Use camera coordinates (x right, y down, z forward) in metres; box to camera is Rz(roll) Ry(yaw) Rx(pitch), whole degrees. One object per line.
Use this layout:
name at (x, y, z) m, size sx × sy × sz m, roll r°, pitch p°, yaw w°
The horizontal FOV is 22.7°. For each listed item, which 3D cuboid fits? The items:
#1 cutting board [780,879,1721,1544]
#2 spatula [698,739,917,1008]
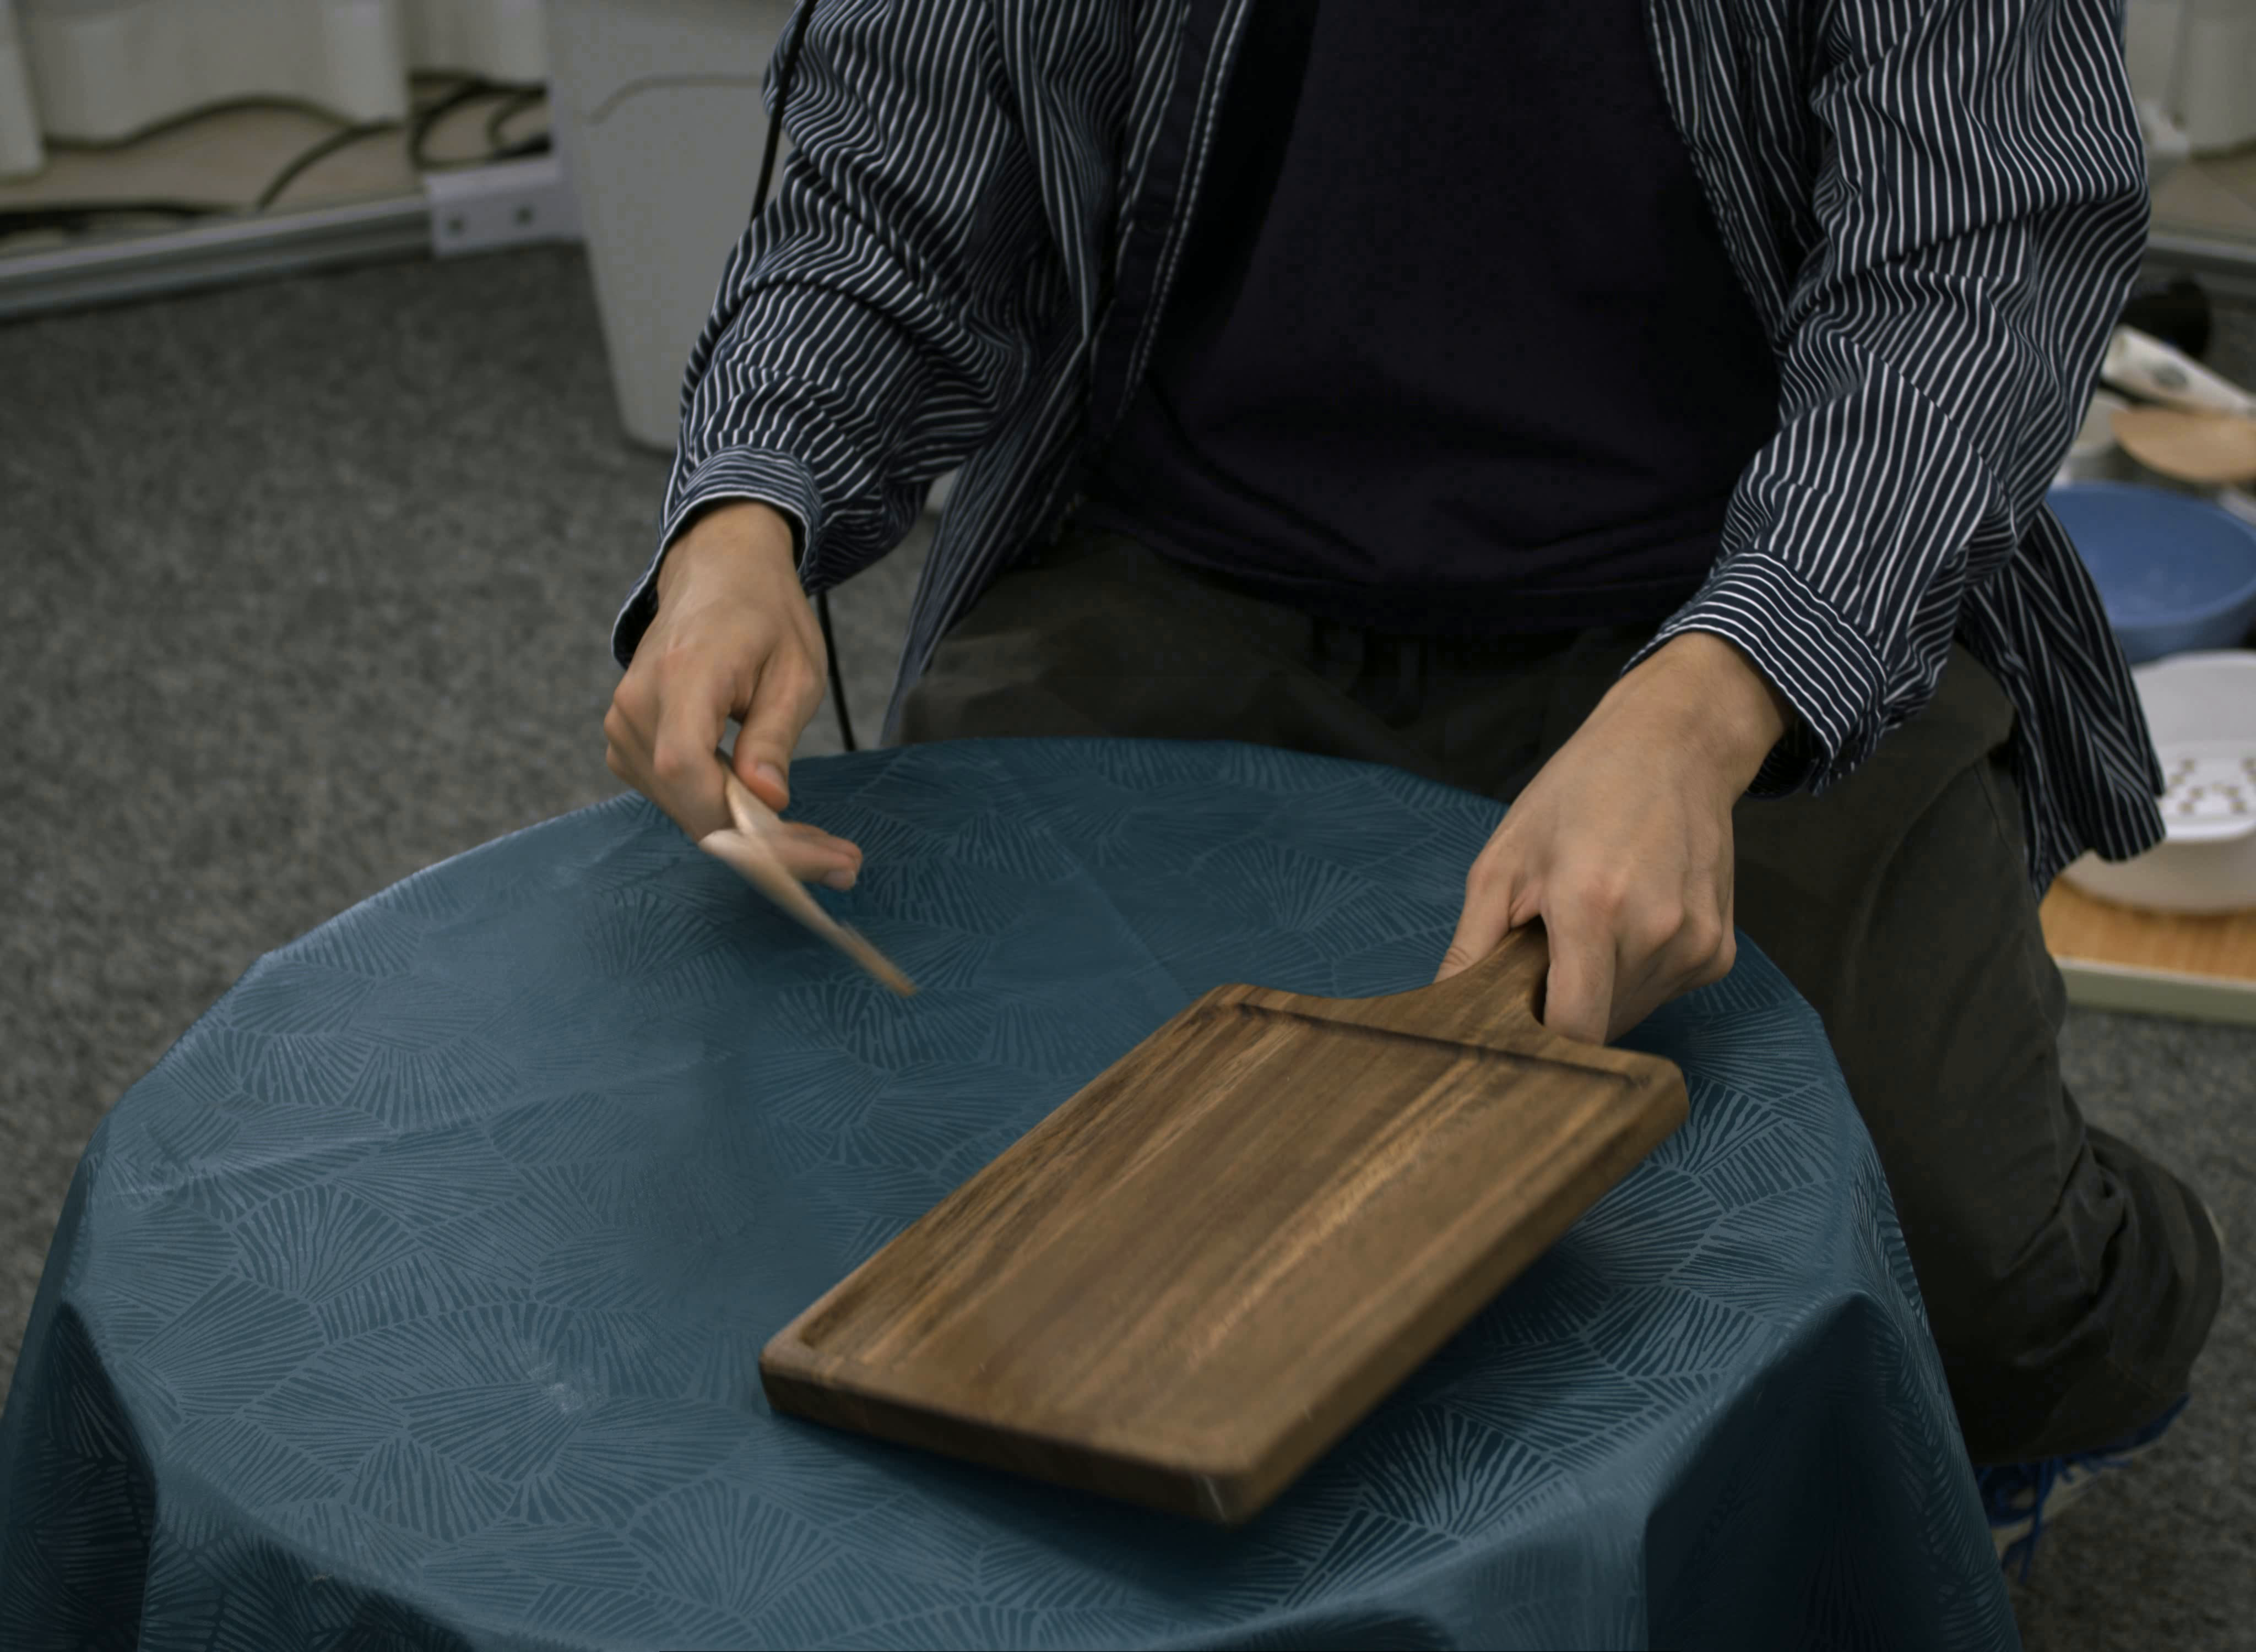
cutting board at (0.070, 0.109, 1.792) m, size 0.200 × 0.023 × 0.357 m, roll 9°, pitch 33°, yaw 39°
spatula at (-0.120, 0.007, 1.900) m, size 0.079 × 0.016 × 0.329 m, roll 39°, pitch 4°, yaw -14°
